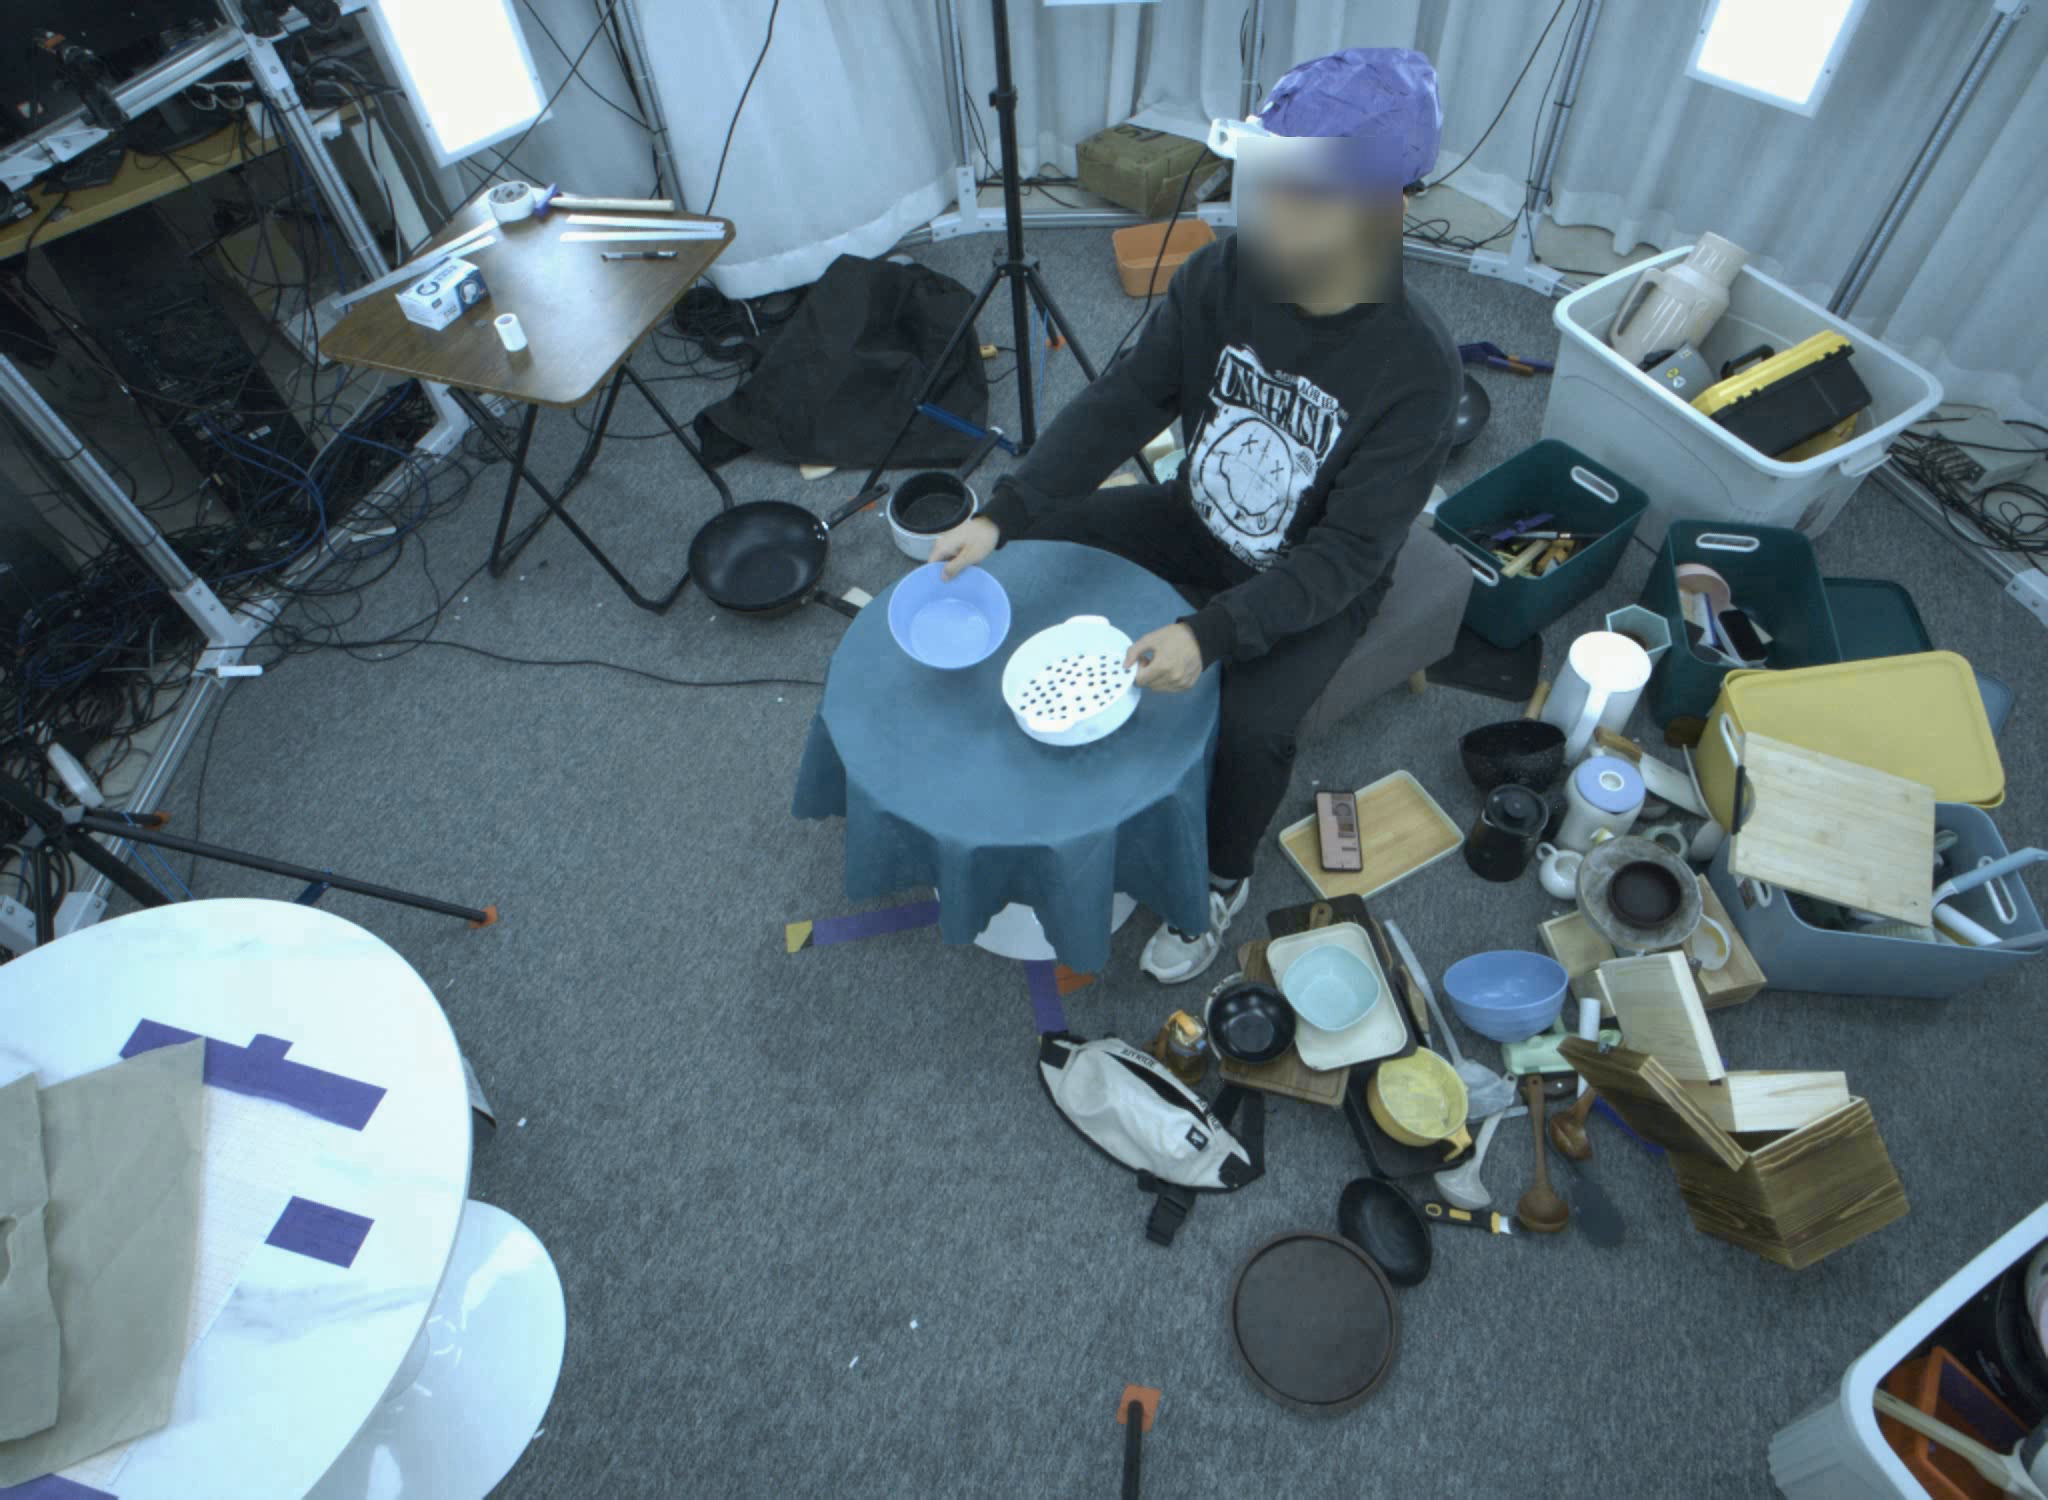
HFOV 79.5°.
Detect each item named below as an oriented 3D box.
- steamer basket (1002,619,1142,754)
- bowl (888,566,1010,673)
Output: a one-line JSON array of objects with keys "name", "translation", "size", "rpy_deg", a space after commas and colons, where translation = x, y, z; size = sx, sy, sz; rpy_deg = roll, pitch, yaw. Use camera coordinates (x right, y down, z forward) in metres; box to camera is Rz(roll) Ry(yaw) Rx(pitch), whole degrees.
[{"name": "steamer basket", "translation": [0.073, -0.088, 1.797], "size": [0.199, 0.070, 0.229], "rpy_deg": [4, 55, 19]}, {"name": "bowl", "translation": [-0.110, -0.180, 1.801], "size": [0.177, 0.070, 0.174], "rpy_deg": [2, 68, -4]}]
